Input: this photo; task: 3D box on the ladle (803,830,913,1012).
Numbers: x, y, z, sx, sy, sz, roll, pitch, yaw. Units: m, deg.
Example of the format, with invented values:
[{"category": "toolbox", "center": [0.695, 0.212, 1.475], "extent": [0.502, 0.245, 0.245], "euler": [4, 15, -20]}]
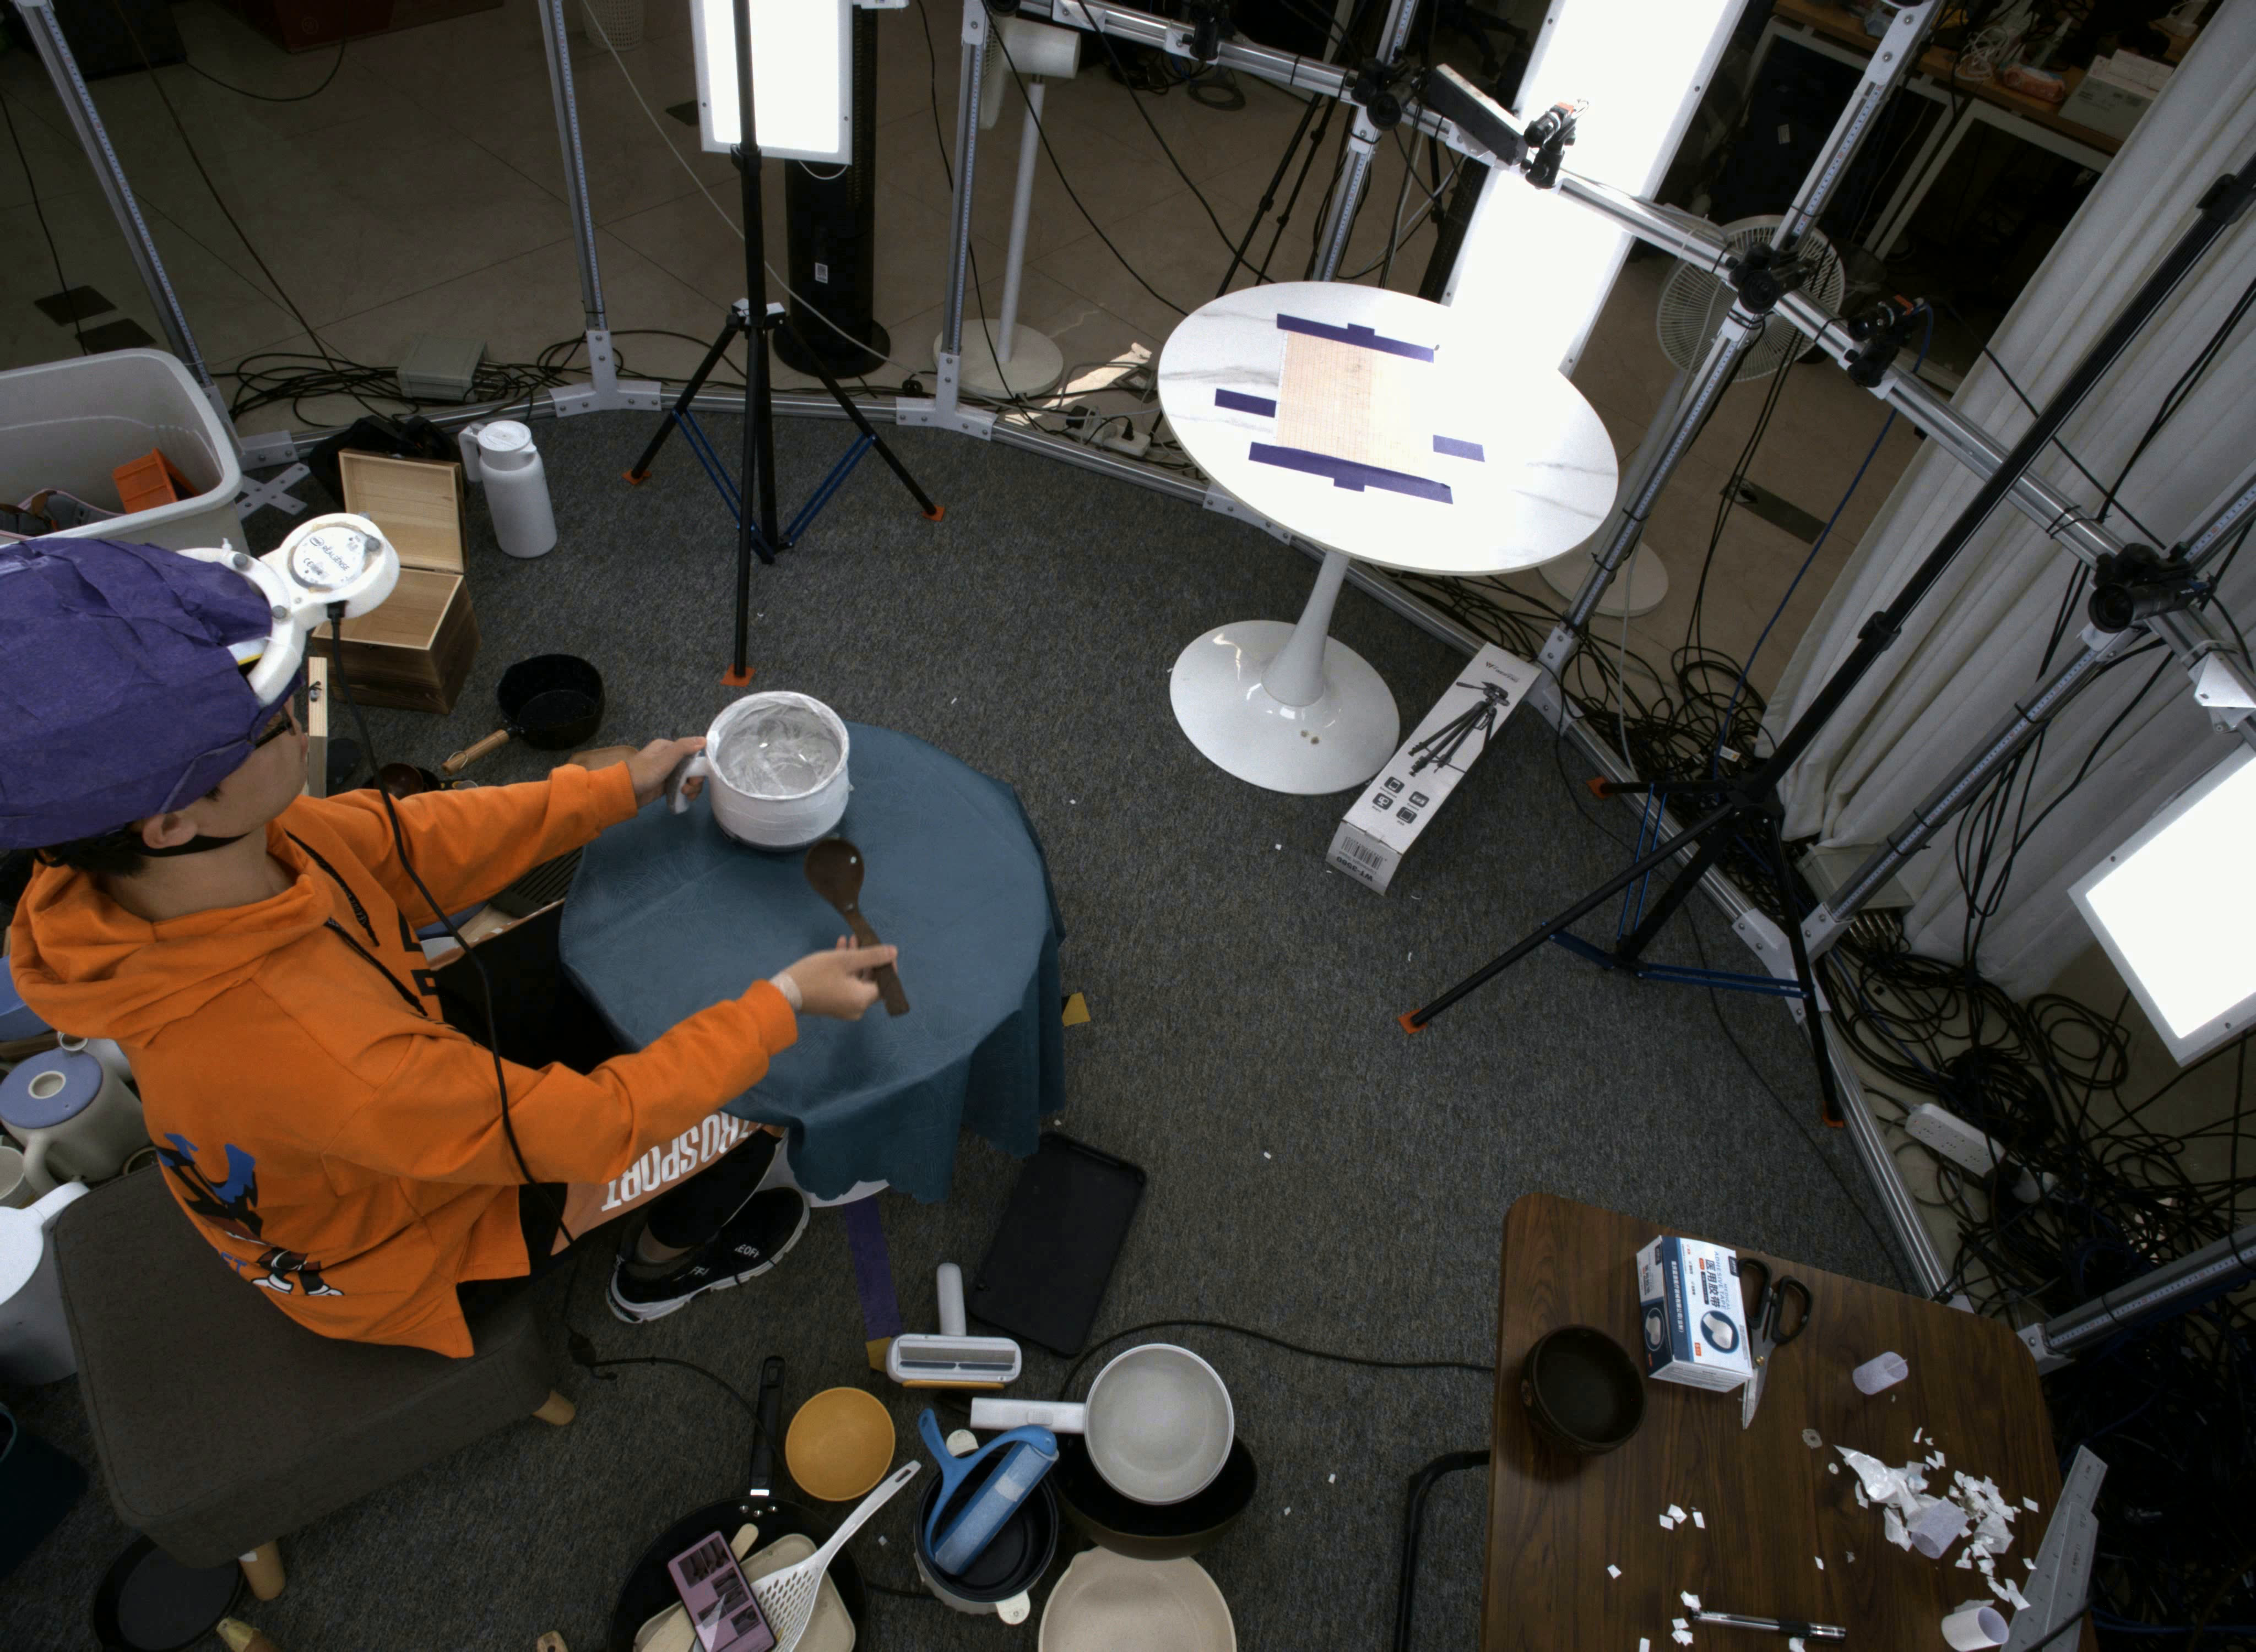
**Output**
[{"category": "ladle", "center": [-0.305, 0.100, 1.494], "extent": [0.076, 0.073, 0.264], "euler": [-15, 40, -24]}]

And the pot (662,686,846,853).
[{"category": "pot", "center": [-0.476, -0.065, 1.644], "extent": [0.234, 0.139, 0.174], "euler": [-6, 56, -18]}]
